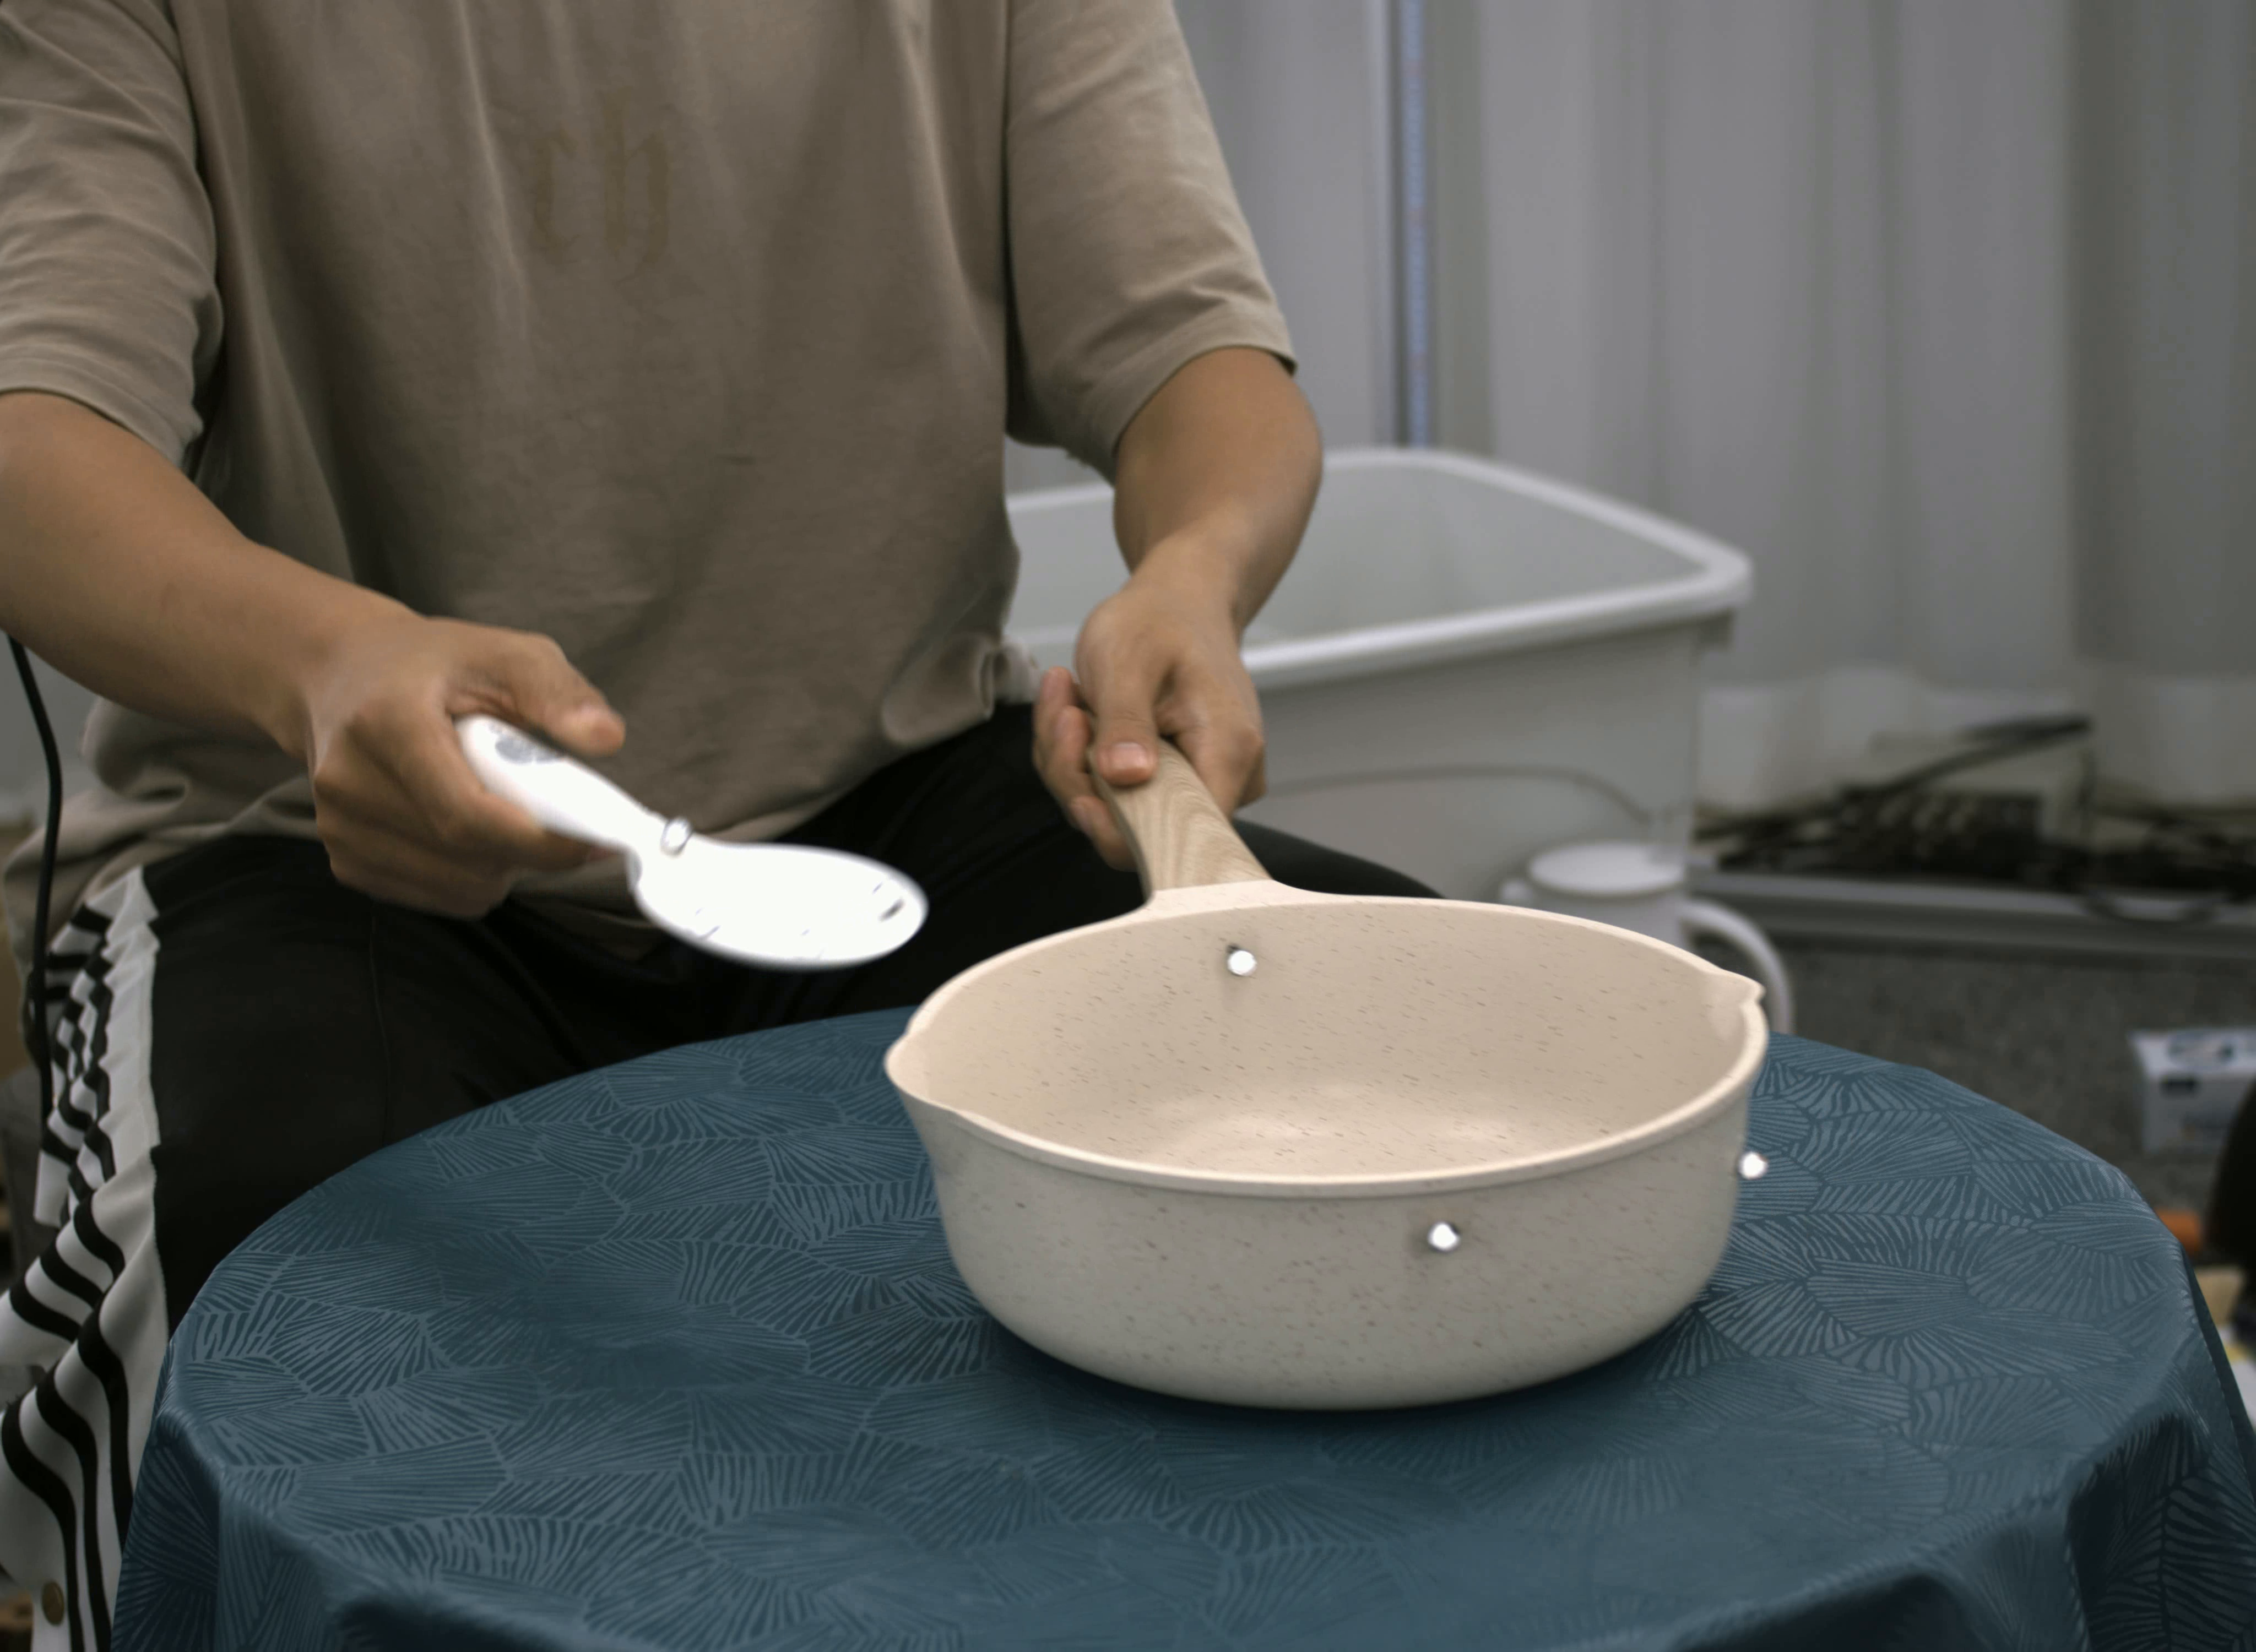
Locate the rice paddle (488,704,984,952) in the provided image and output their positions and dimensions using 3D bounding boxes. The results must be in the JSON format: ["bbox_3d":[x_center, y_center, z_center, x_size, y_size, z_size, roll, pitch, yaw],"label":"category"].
[{"bbox_3d":[-0.115,0.002,1.562,0.068,0.029,0.207,-18,25,-34],"label":"rice paddle"}]

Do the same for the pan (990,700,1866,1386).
[{"bbox_3d":[0.069,0.061,1.688,0.262,0.101,0.438,-8,16,-12],"label":"pan"}]
